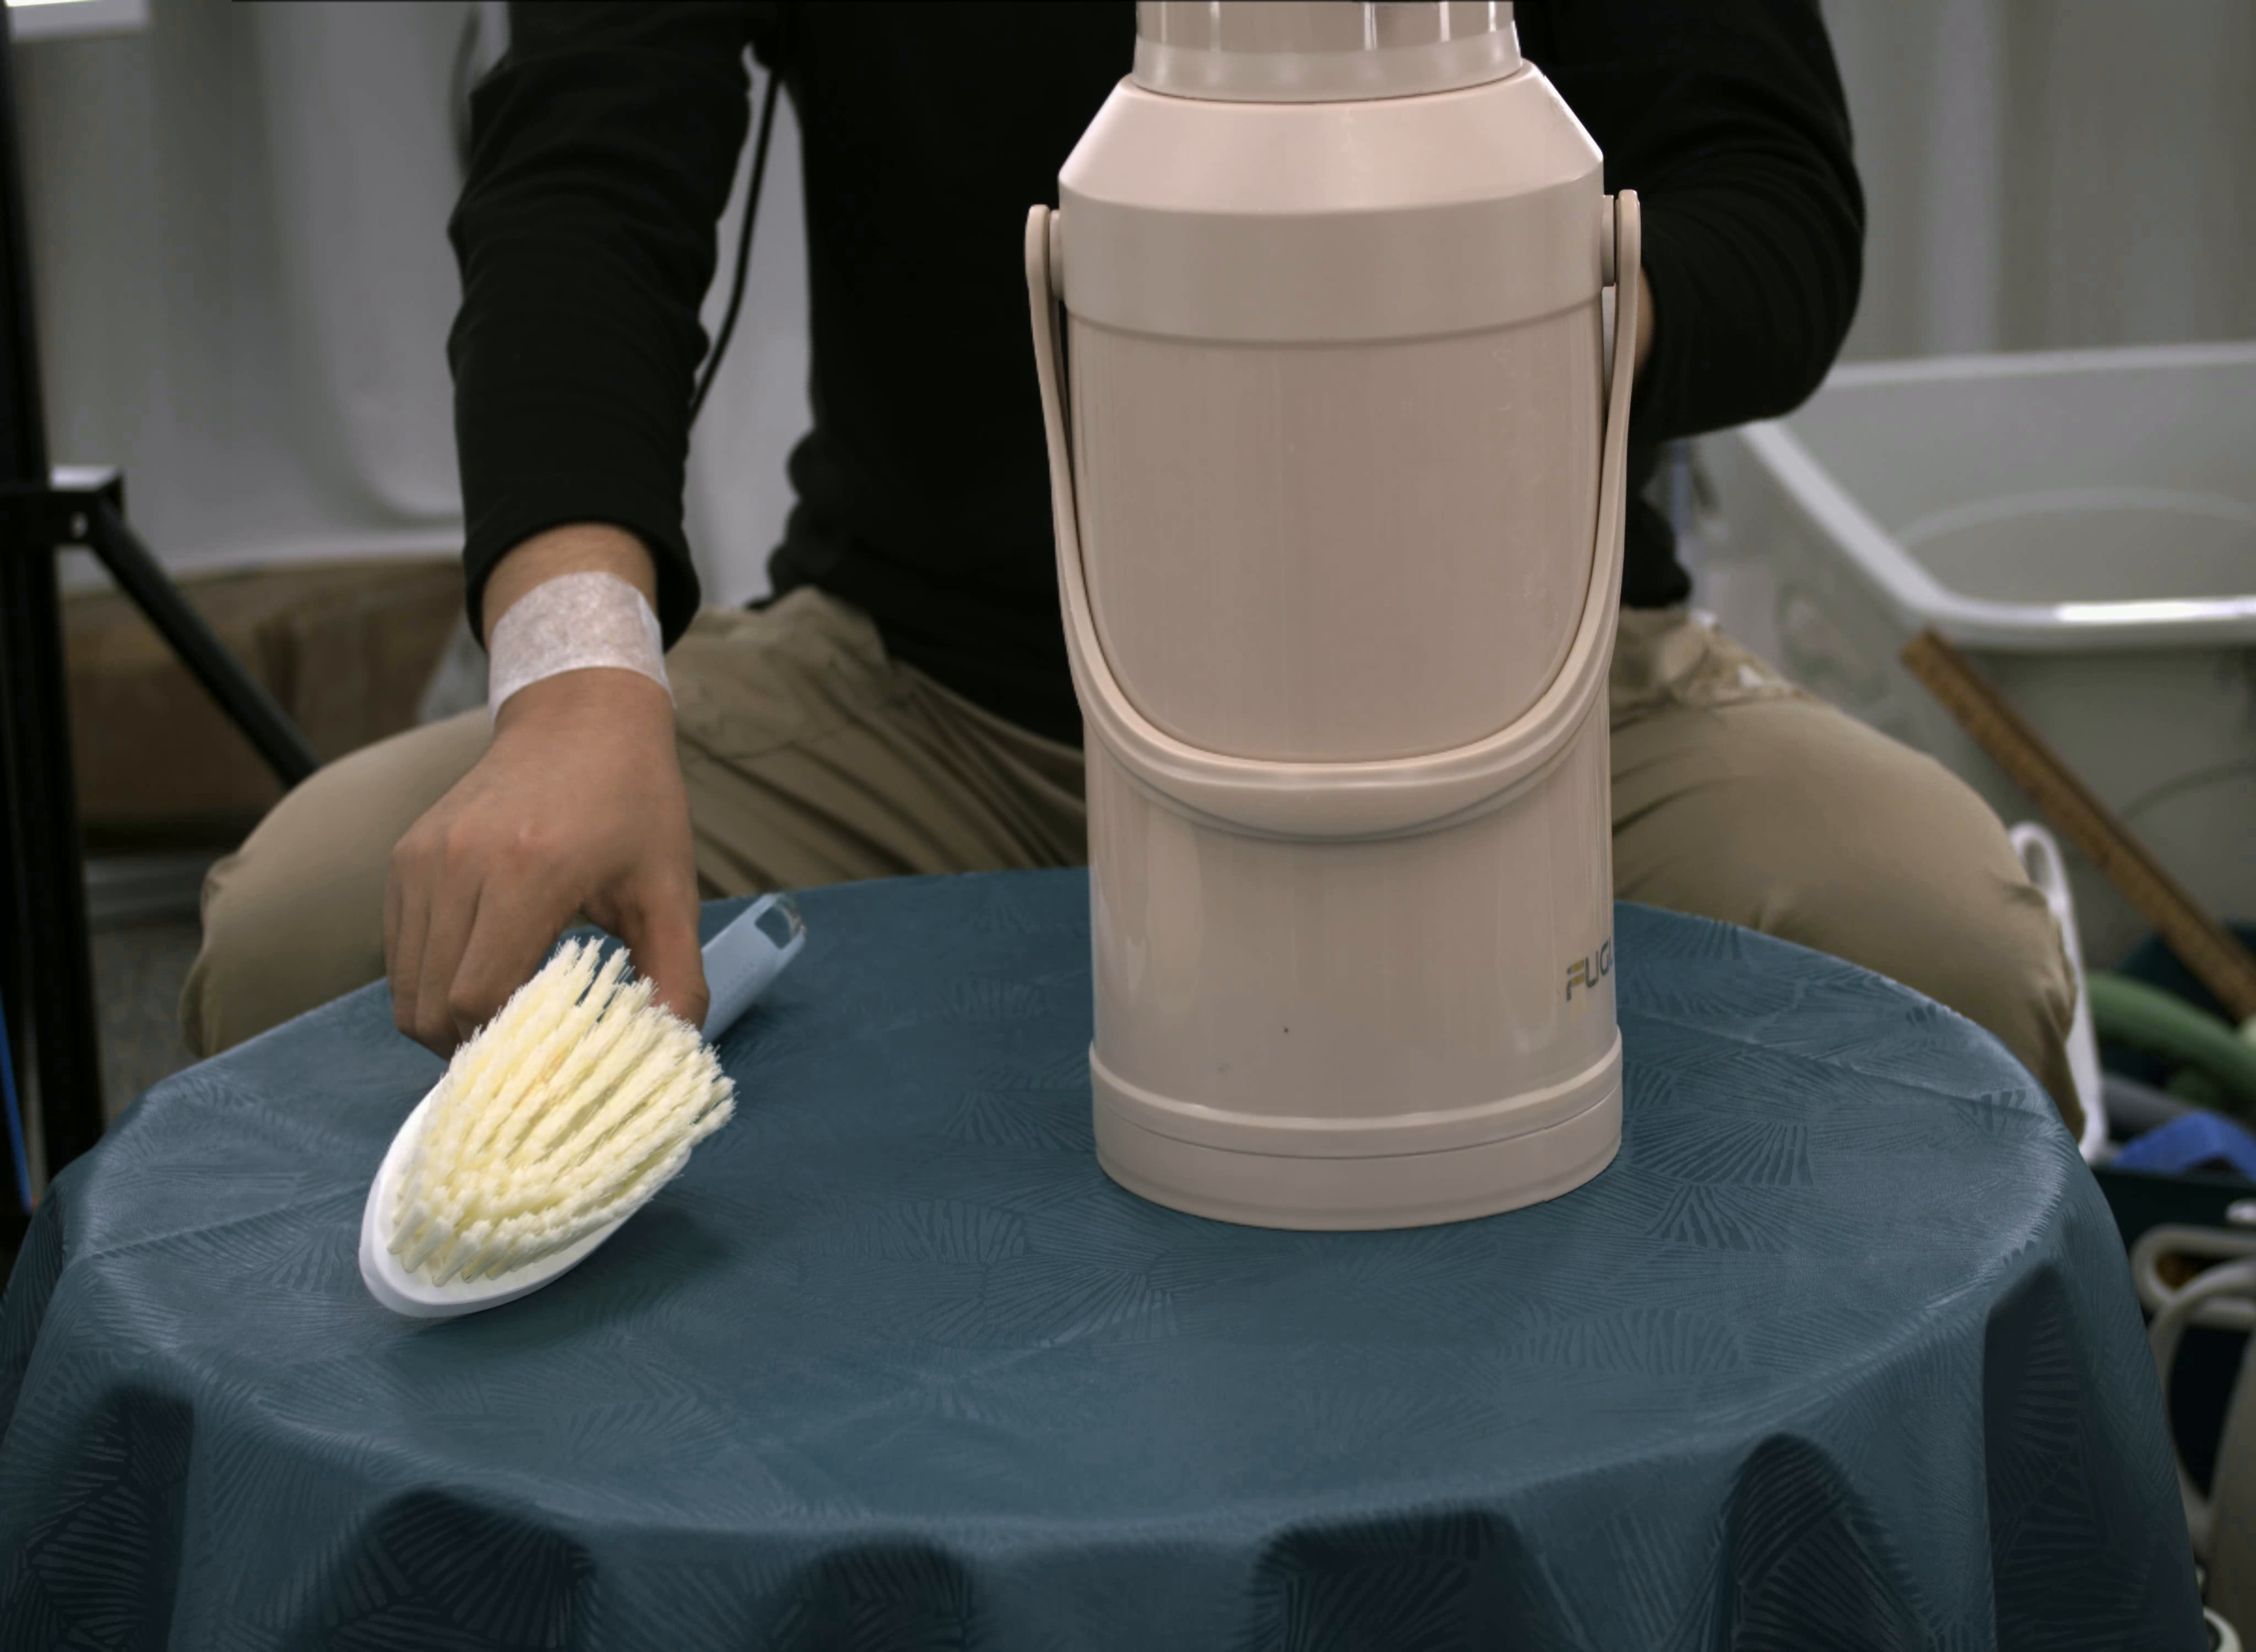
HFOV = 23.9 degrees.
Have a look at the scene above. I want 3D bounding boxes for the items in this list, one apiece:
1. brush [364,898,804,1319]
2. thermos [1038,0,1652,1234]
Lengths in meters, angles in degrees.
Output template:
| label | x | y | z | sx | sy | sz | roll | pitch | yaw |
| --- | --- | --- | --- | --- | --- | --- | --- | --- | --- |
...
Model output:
| label | x | y | z | sx | sy | sz | roll | pitch | yaw |
| --- | --- | --- | --- | --- | --- | --- | --- | --- | --- |
| brush | -0.142 | 0.058 | 1.609 | 0.085 | 0.083 | 0.322 | -3 | 17 | 18 |
| thermos | 0.067 | -0.100 | 1.554 | 0.175 | 0.406 | 0.207 | -2 | 15 | 6 |
